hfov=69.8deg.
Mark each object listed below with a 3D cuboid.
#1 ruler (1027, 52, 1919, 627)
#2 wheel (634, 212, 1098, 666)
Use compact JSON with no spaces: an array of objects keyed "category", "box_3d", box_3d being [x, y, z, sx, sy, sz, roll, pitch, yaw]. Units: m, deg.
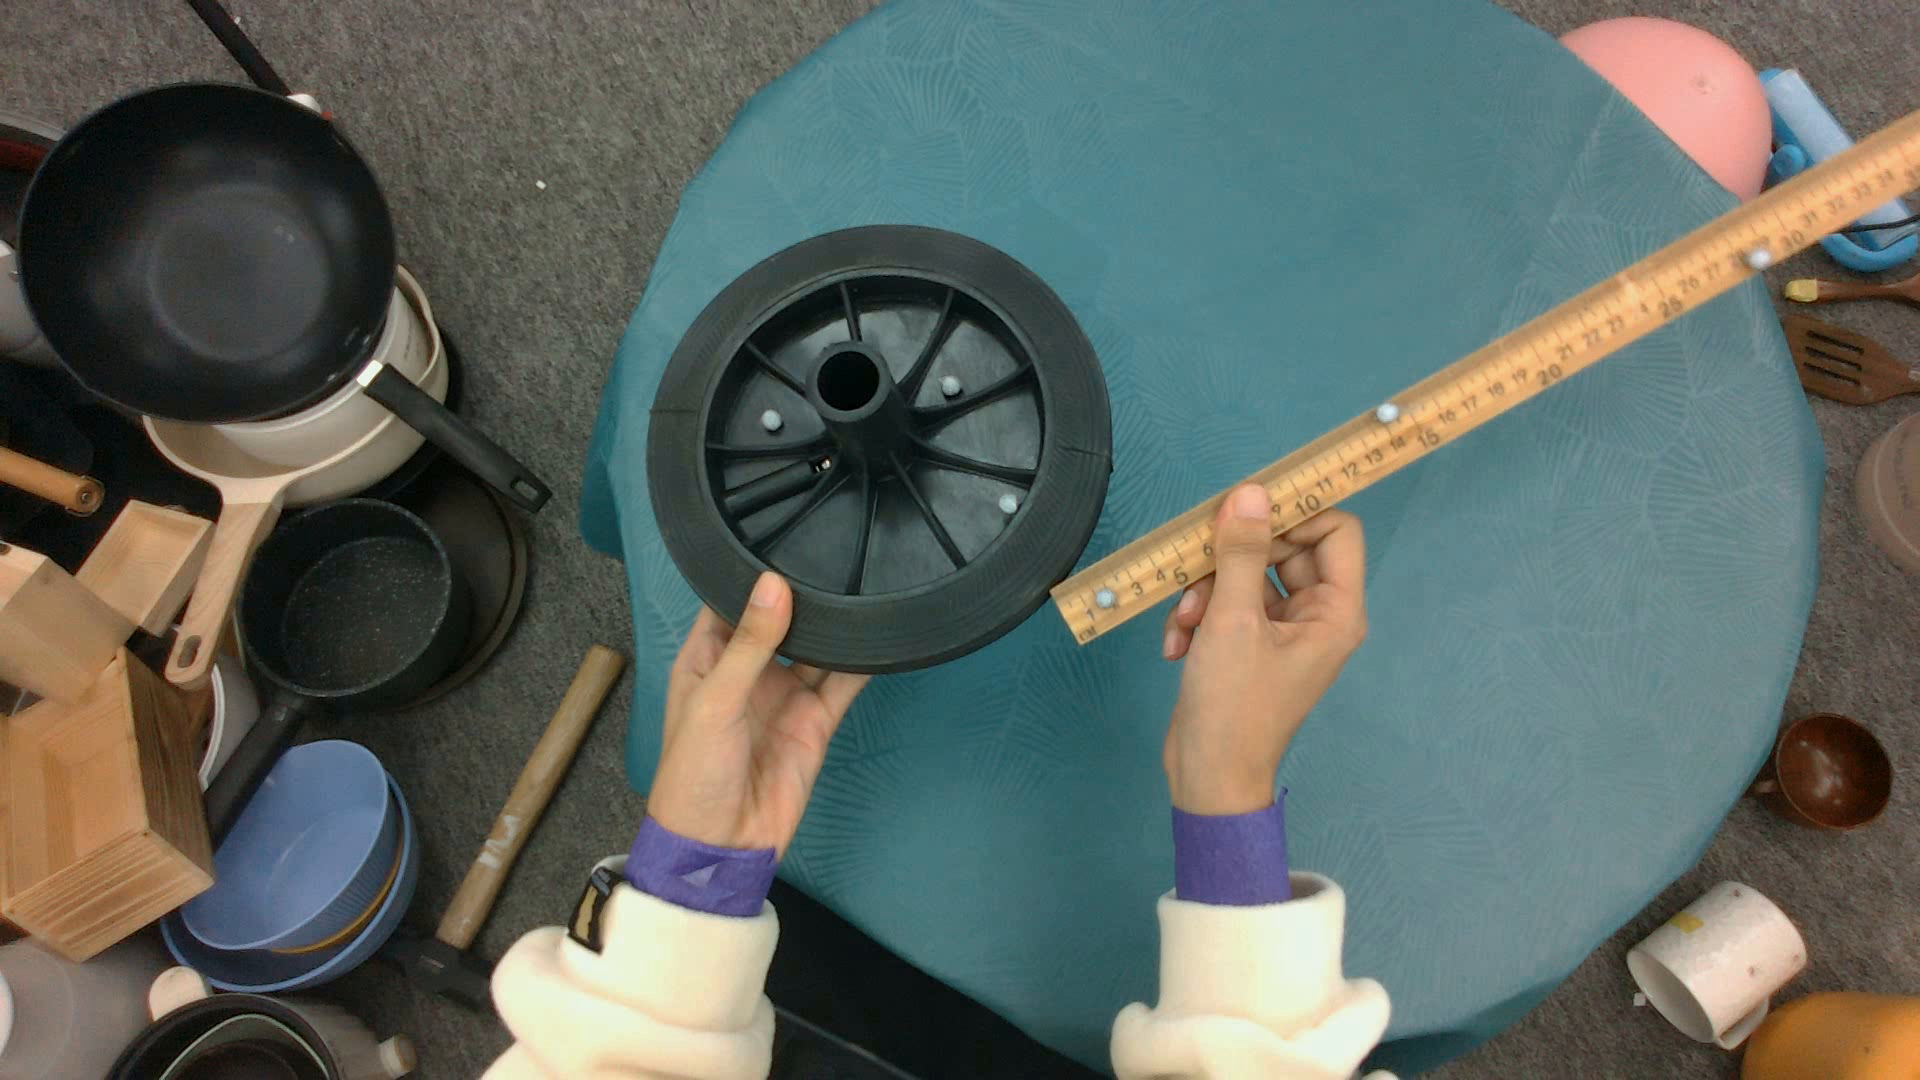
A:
[{"category":"ruler","box_3d":[0.247,-0.102,0.520,0.500,0.006,0.027,-30,88,1]},{"category":"wheel","box_3d":[-0.041,-0.049,0.534,0.187,0.079,0.190,43,82,15]}]
